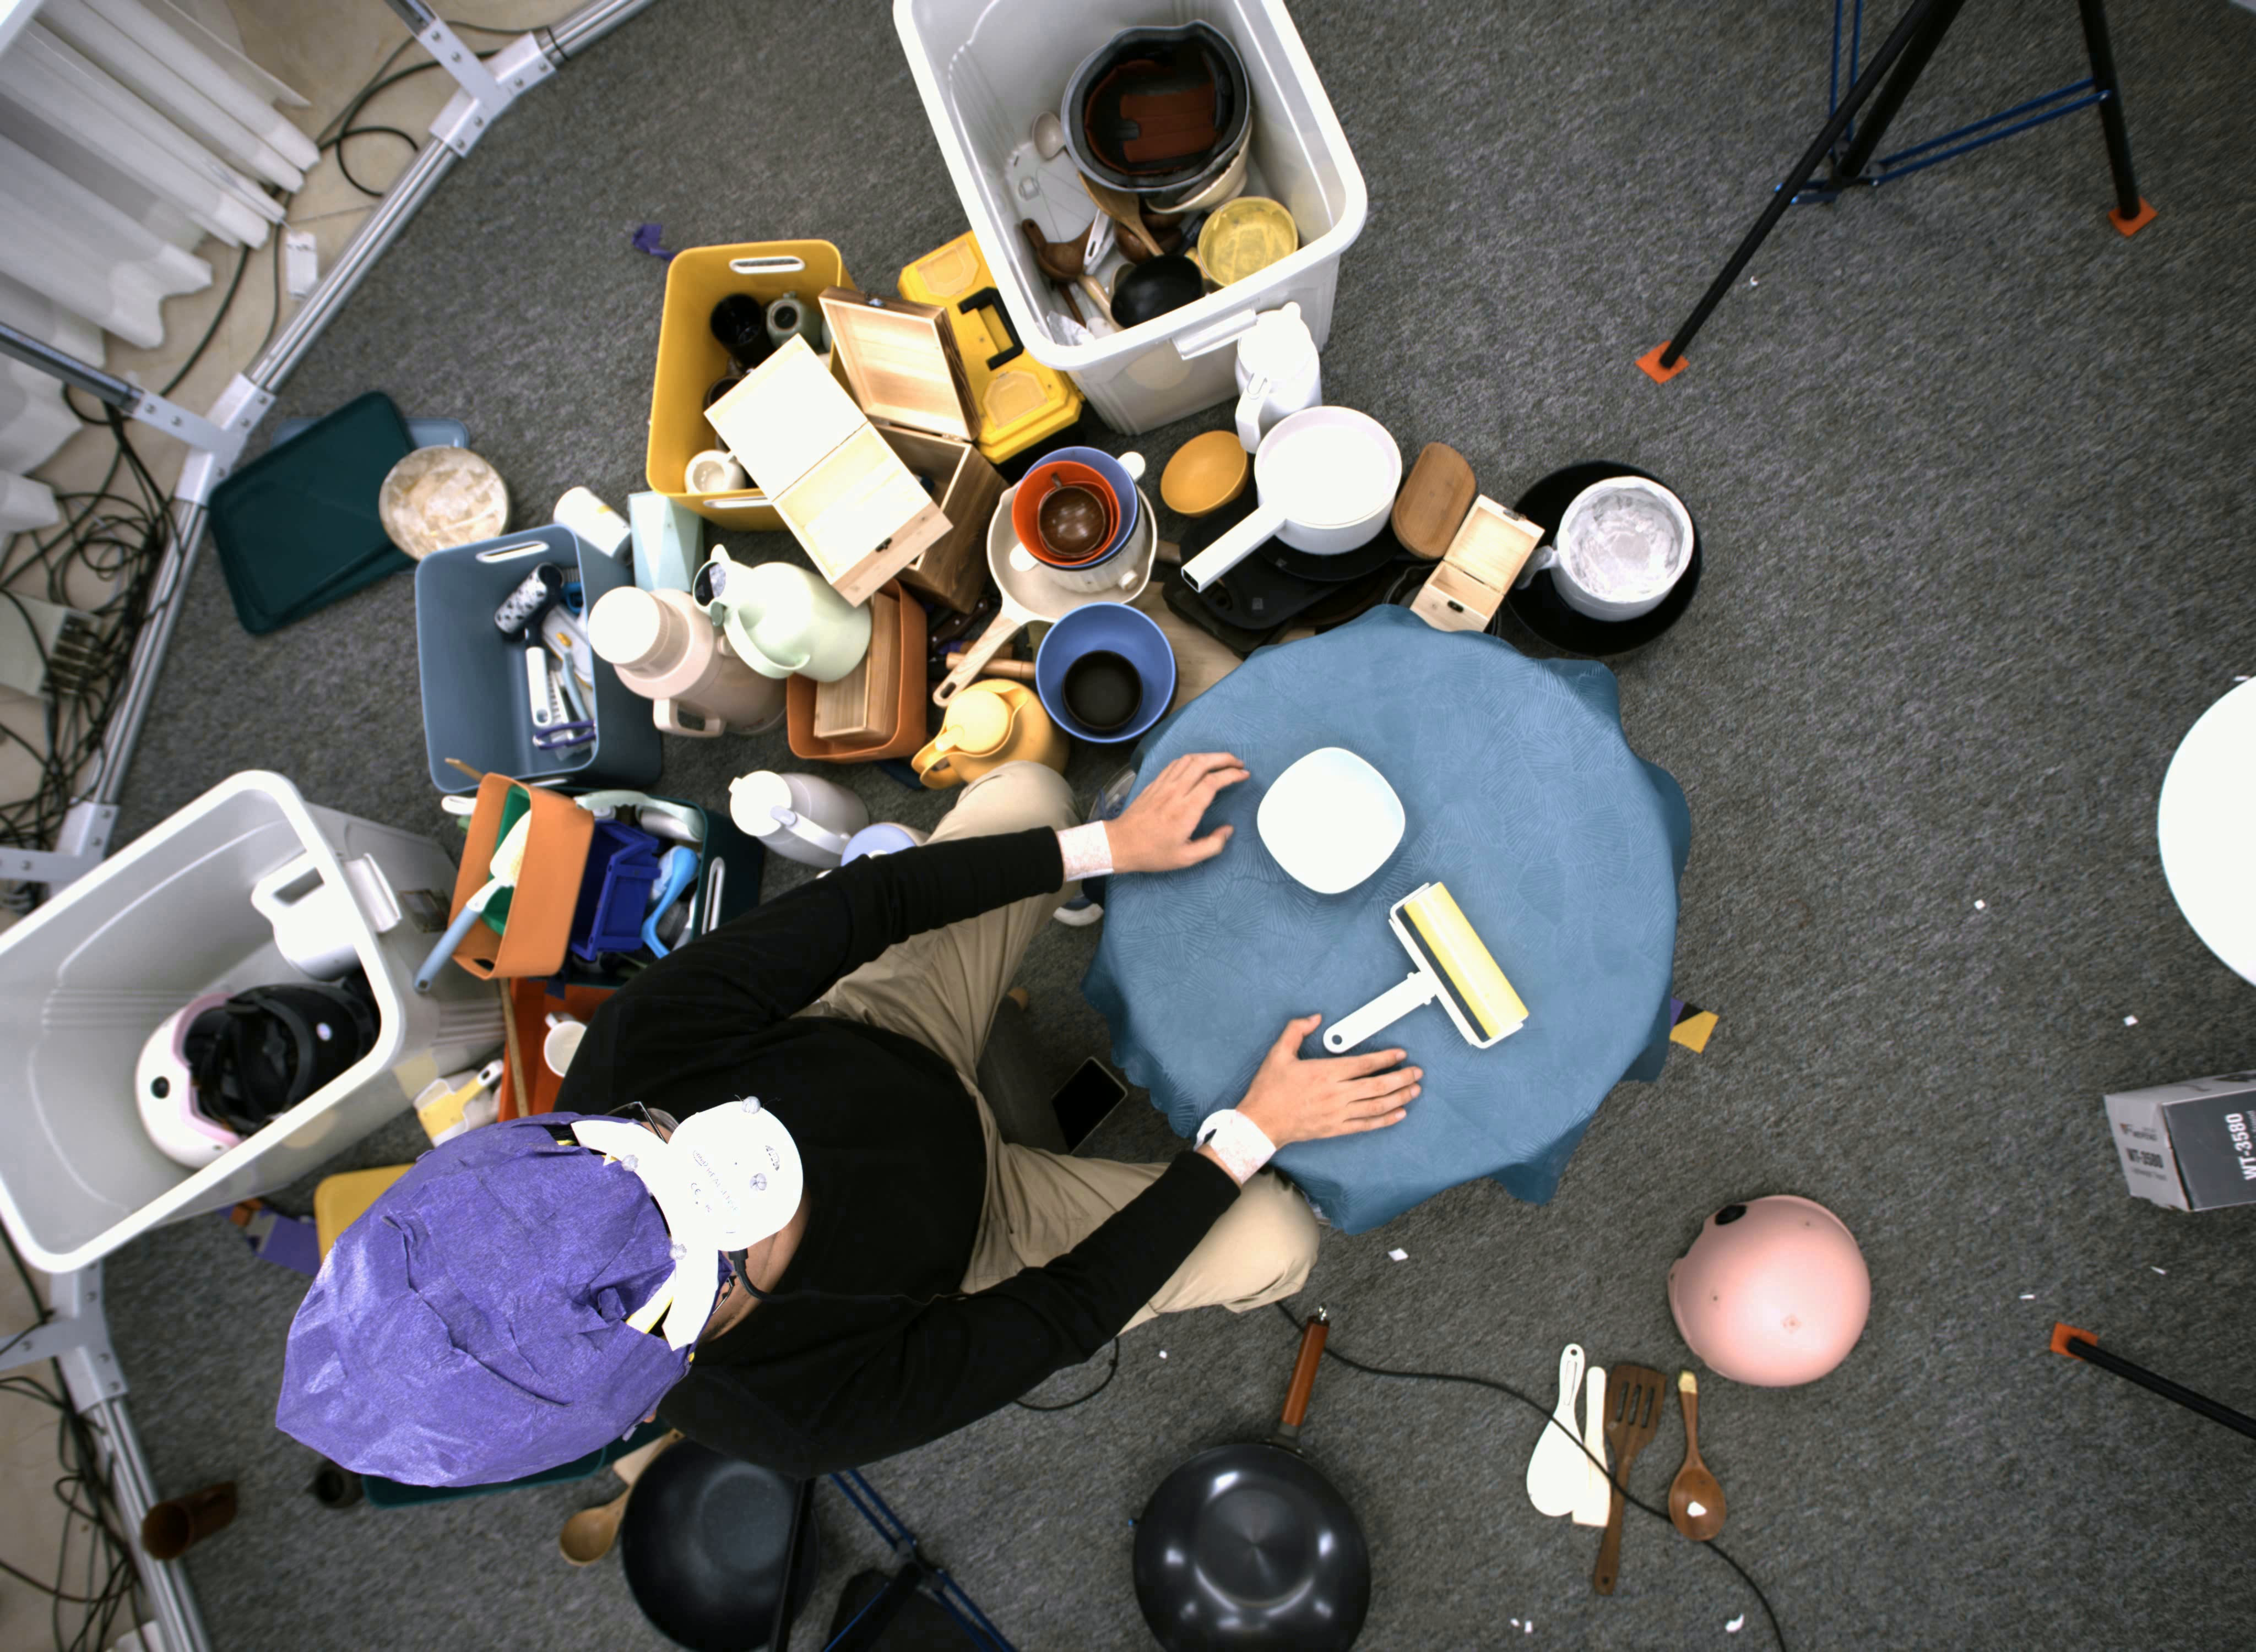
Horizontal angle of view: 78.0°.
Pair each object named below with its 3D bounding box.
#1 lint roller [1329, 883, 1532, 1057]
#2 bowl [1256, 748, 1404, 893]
[{"bbox_3d":[0.289,0.177,1.424,0.192,0.051,0.173,-34,81,2],"label":"lint roller"},{"bbox_3d":[0.211,-0.004,1.447,0.152,0.059,0.150,-1,86,9],"label":"bowl"}]
